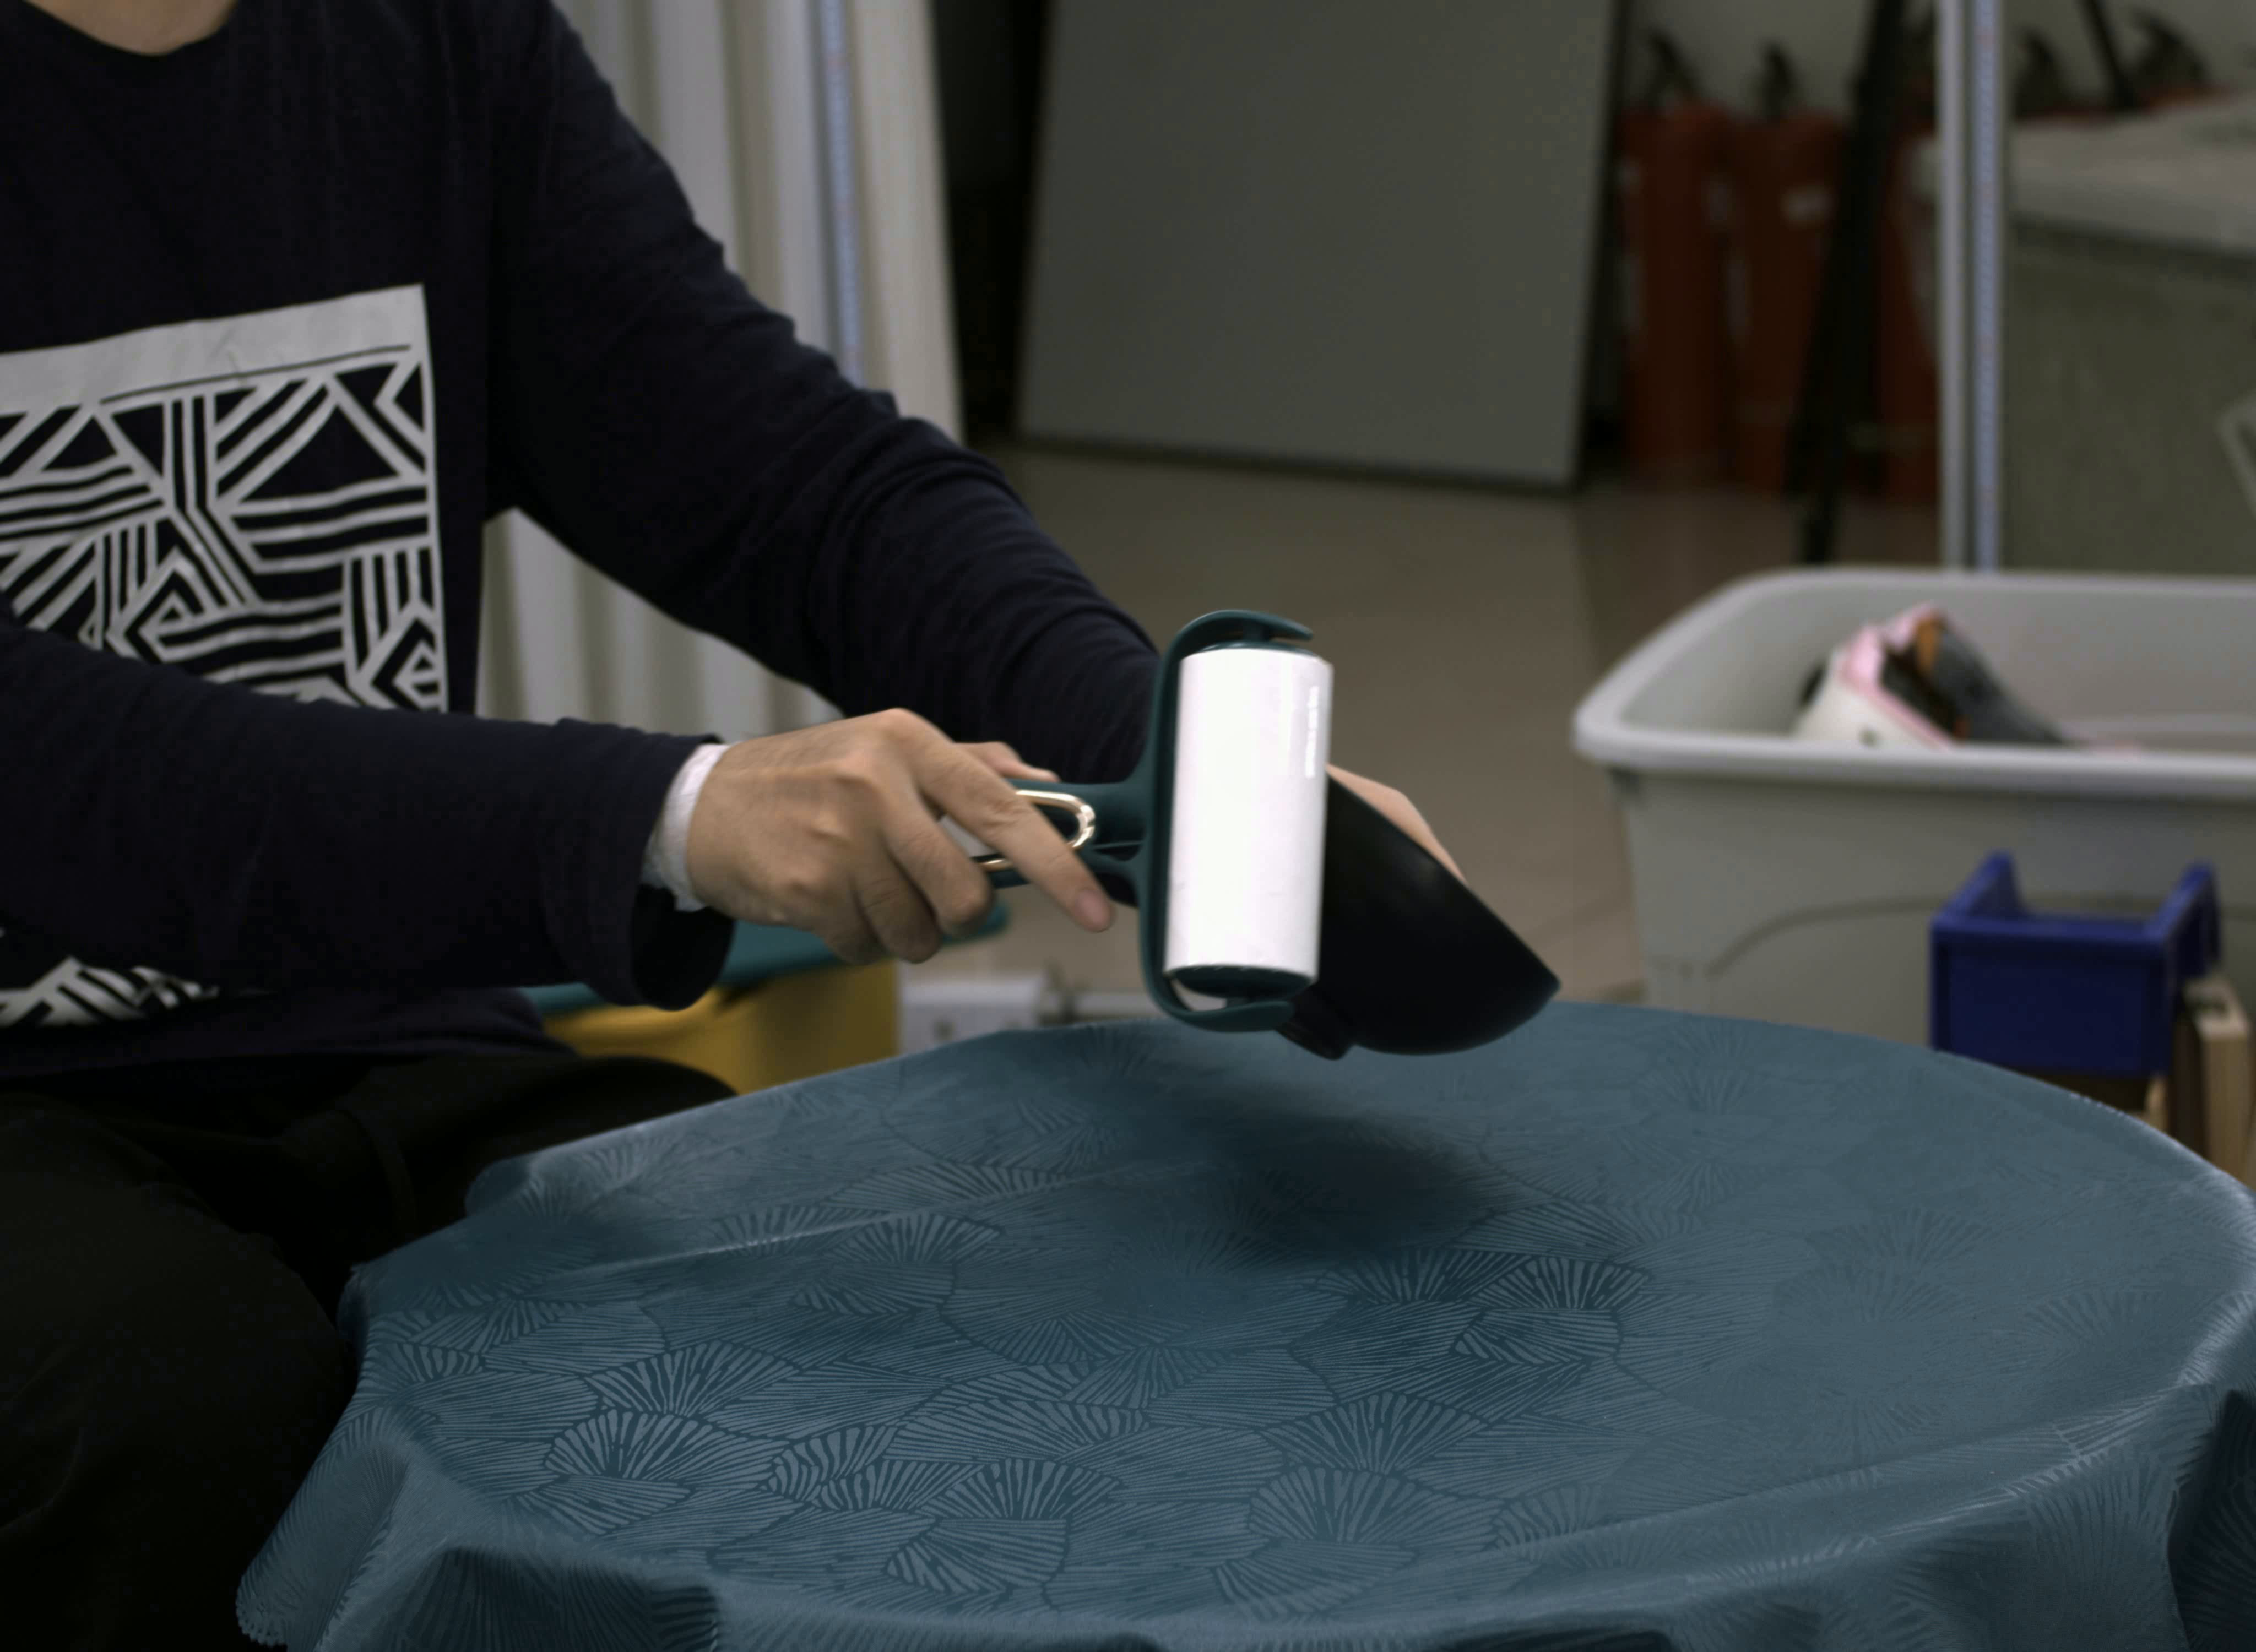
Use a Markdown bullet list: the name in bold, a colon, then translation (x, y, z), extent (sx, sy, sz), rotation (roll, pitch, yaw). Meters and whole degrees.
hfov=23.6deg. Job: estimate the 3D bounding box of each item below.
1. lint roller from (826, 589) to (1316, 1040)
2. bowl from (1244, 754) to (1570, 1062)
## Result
- **lint roller**: translation (-0.026, 0.001, 1.688), extent (0.180, 0.136, 0.047), rotation (-3, -13, 27)
- **bowl**: translation (0.061, 0.030, 1.732), extent (0.172, 0.067, 0.135), rotation (25, -15, 46)
